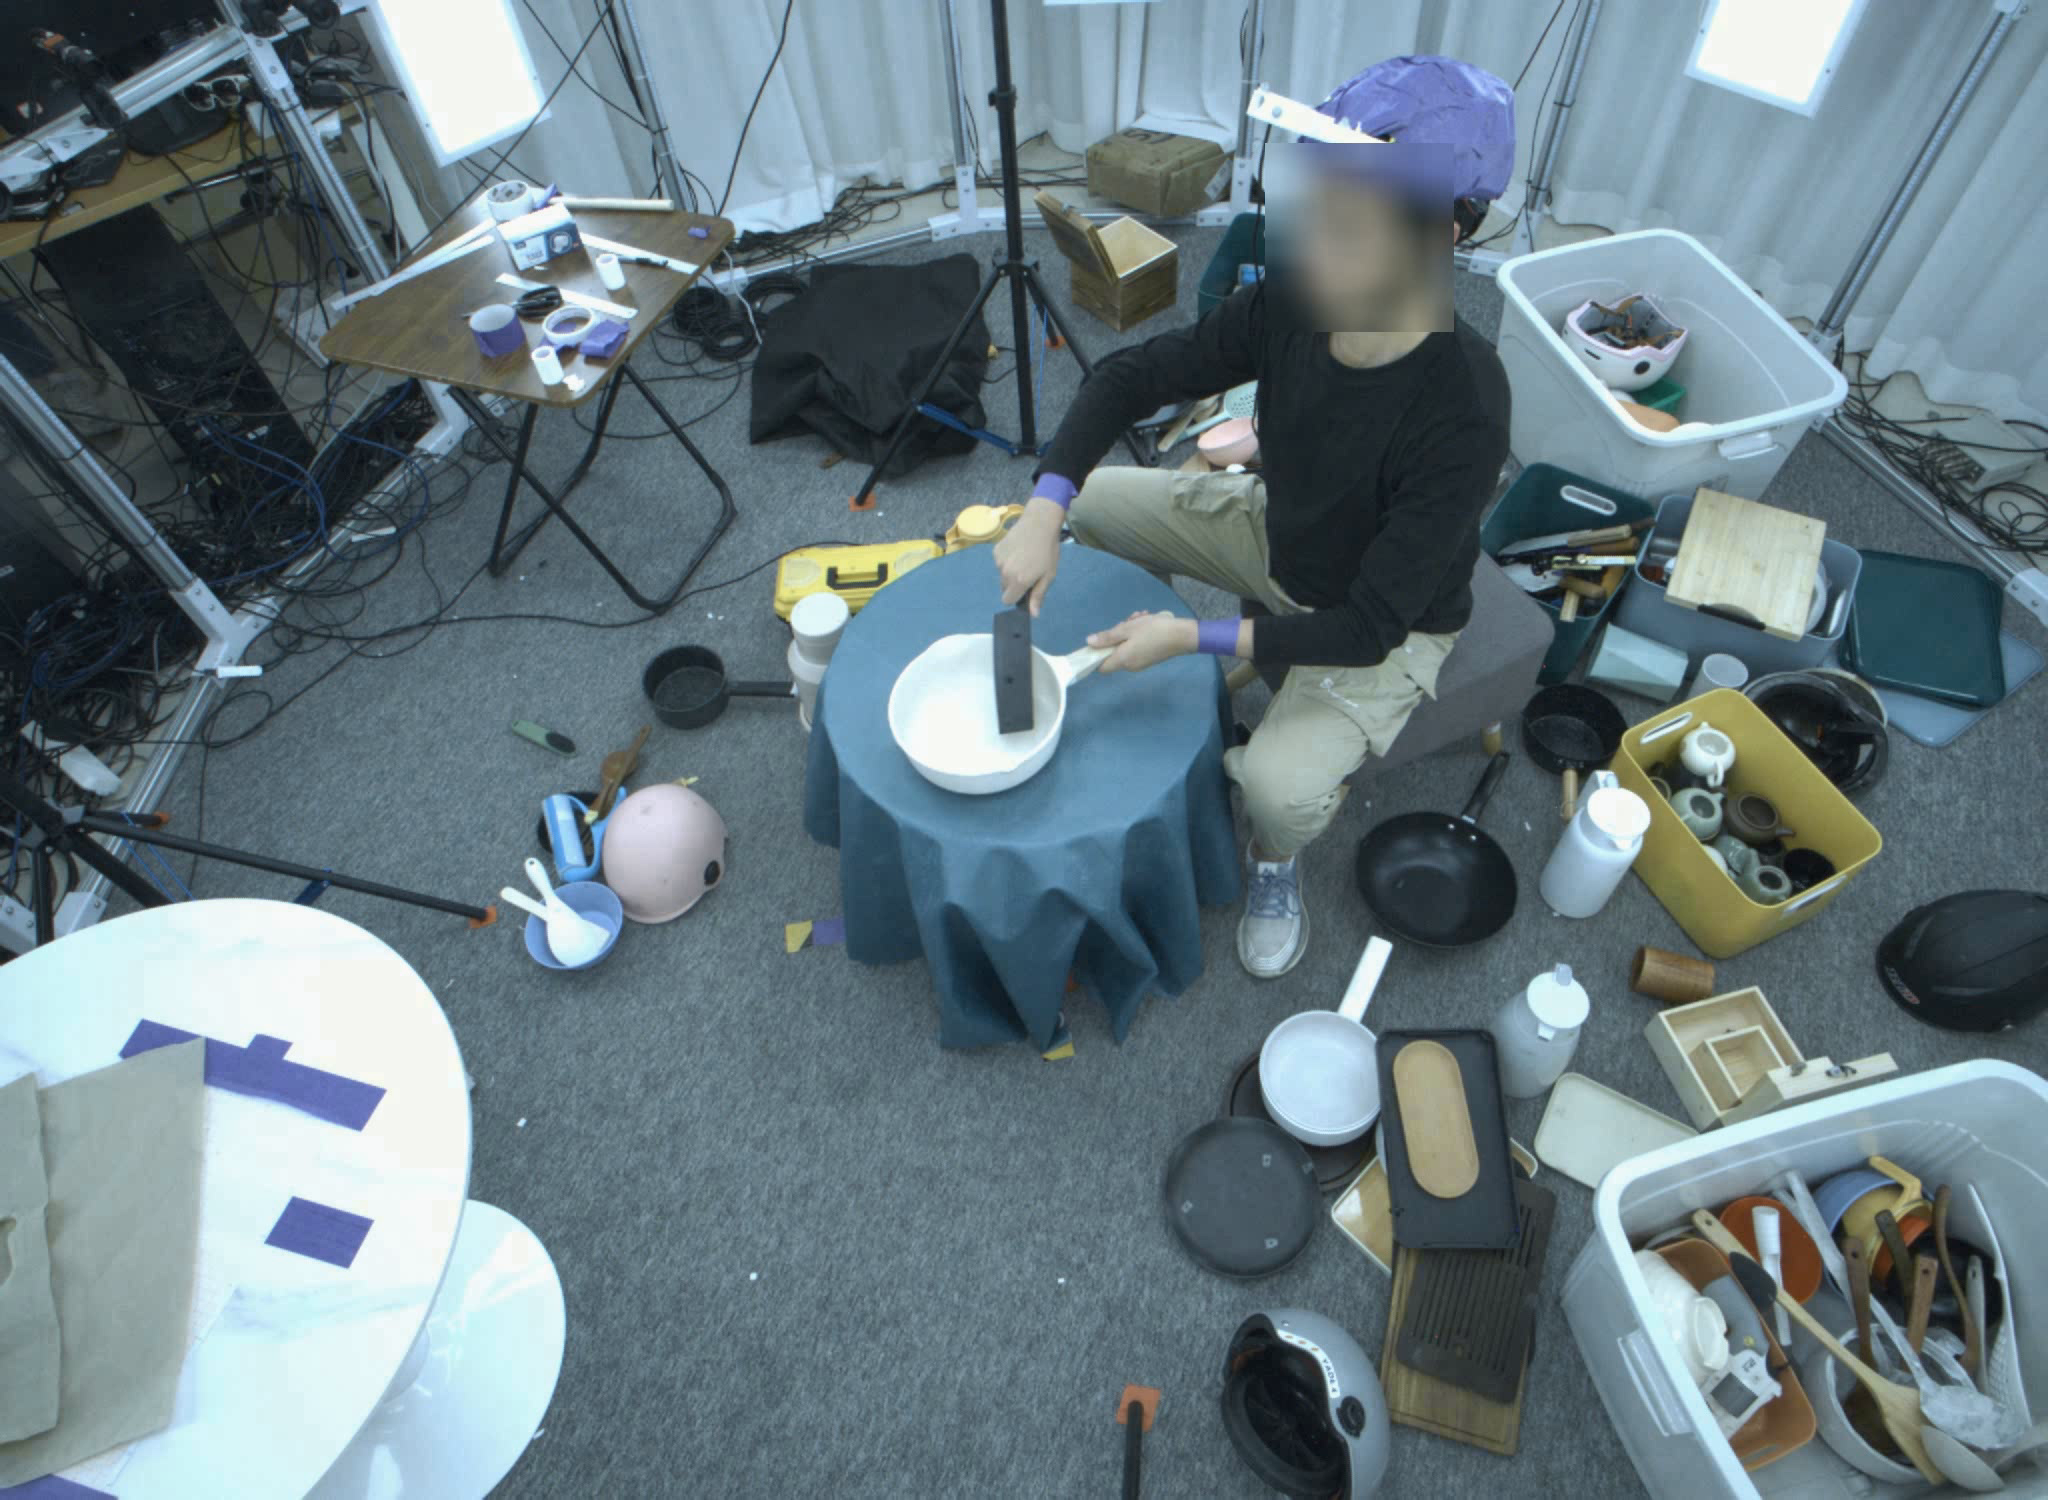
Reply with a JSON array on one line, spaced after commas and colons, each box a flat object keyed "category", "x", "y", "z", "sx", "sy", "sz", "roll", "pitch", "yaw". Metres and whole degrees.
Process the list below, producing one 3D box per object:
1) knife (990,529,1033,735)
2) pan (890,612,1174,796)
[{"category": "knife", "x": -0.017, "y": -0.172, "z": 1.761, "sx": 0.079, "sy": 0.021, "sz": 0.301, "roll": -1, "pitch": 83, "yaw": 33}, {"category": "pan", "x": 0.022, "y": -0.081, "z": 1.771, "sx": 0.437, "sy": 0.103, "sz": 0.258, "roll": -22, "pitch": 55, "yaw": -11}]
